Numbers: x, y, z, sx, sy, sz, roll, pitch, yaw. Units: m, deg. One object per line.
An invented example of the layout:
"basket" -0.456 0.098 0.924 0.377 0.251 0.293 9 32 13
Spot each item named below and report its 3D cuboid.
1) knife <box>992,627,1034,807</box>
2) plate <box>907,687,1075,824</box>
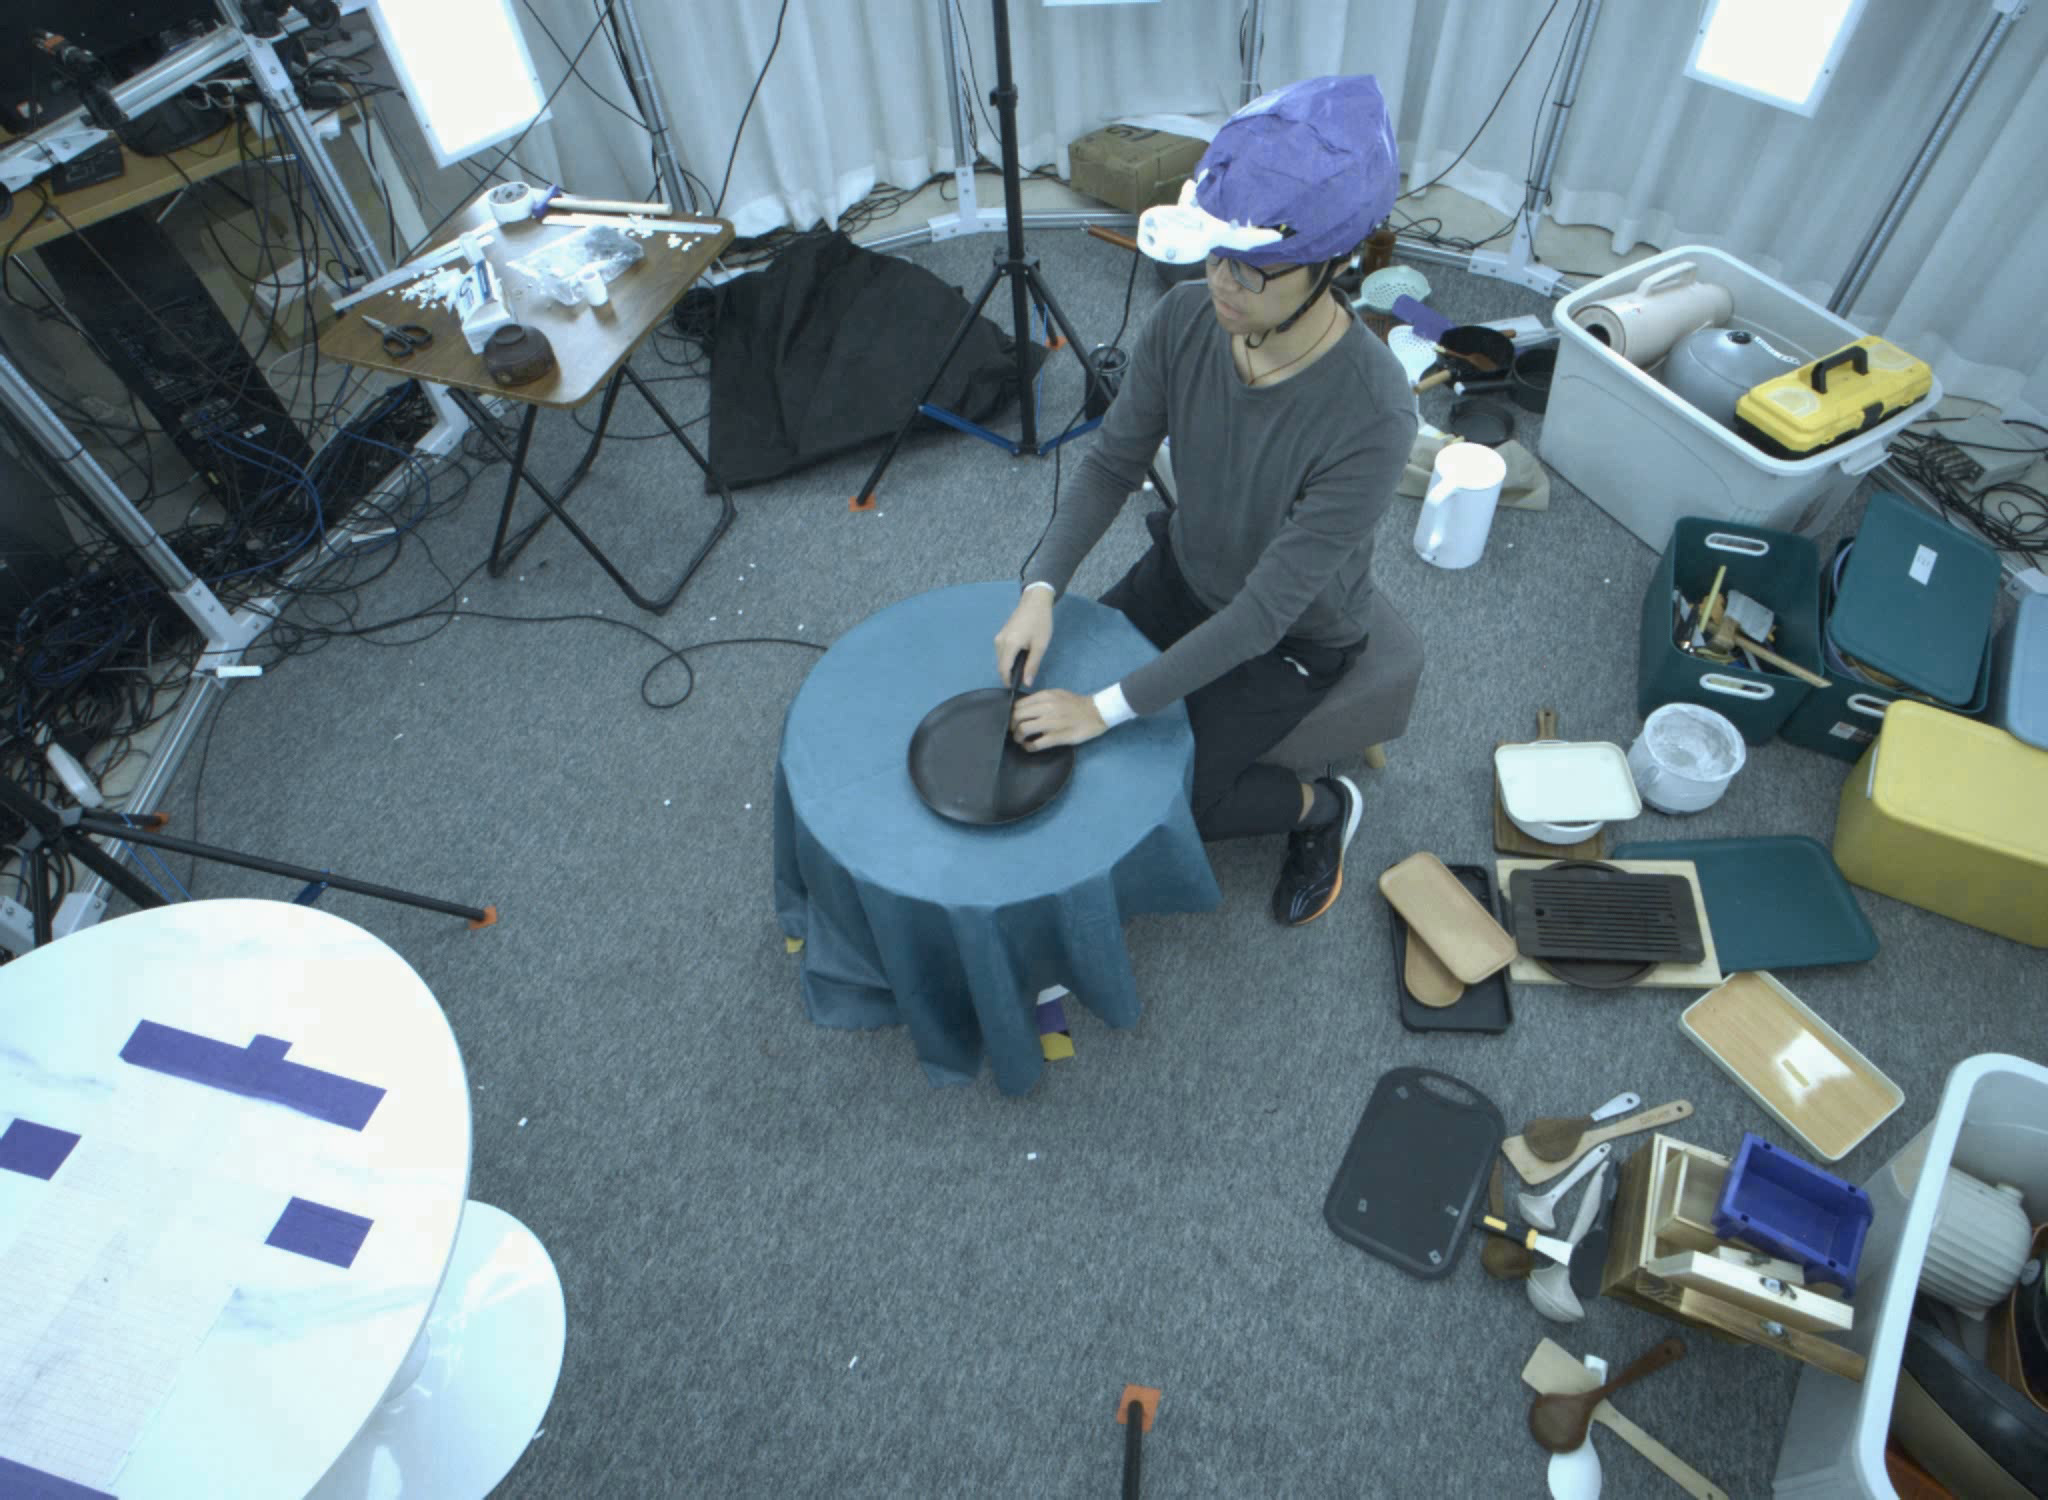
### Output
"knife" -0.019 -0.056 1.776 0.021 0.081 0.300 9 59 4
"plate" -0.048 0.009 1.775 0.244 0.023 0.242 0 55 2
